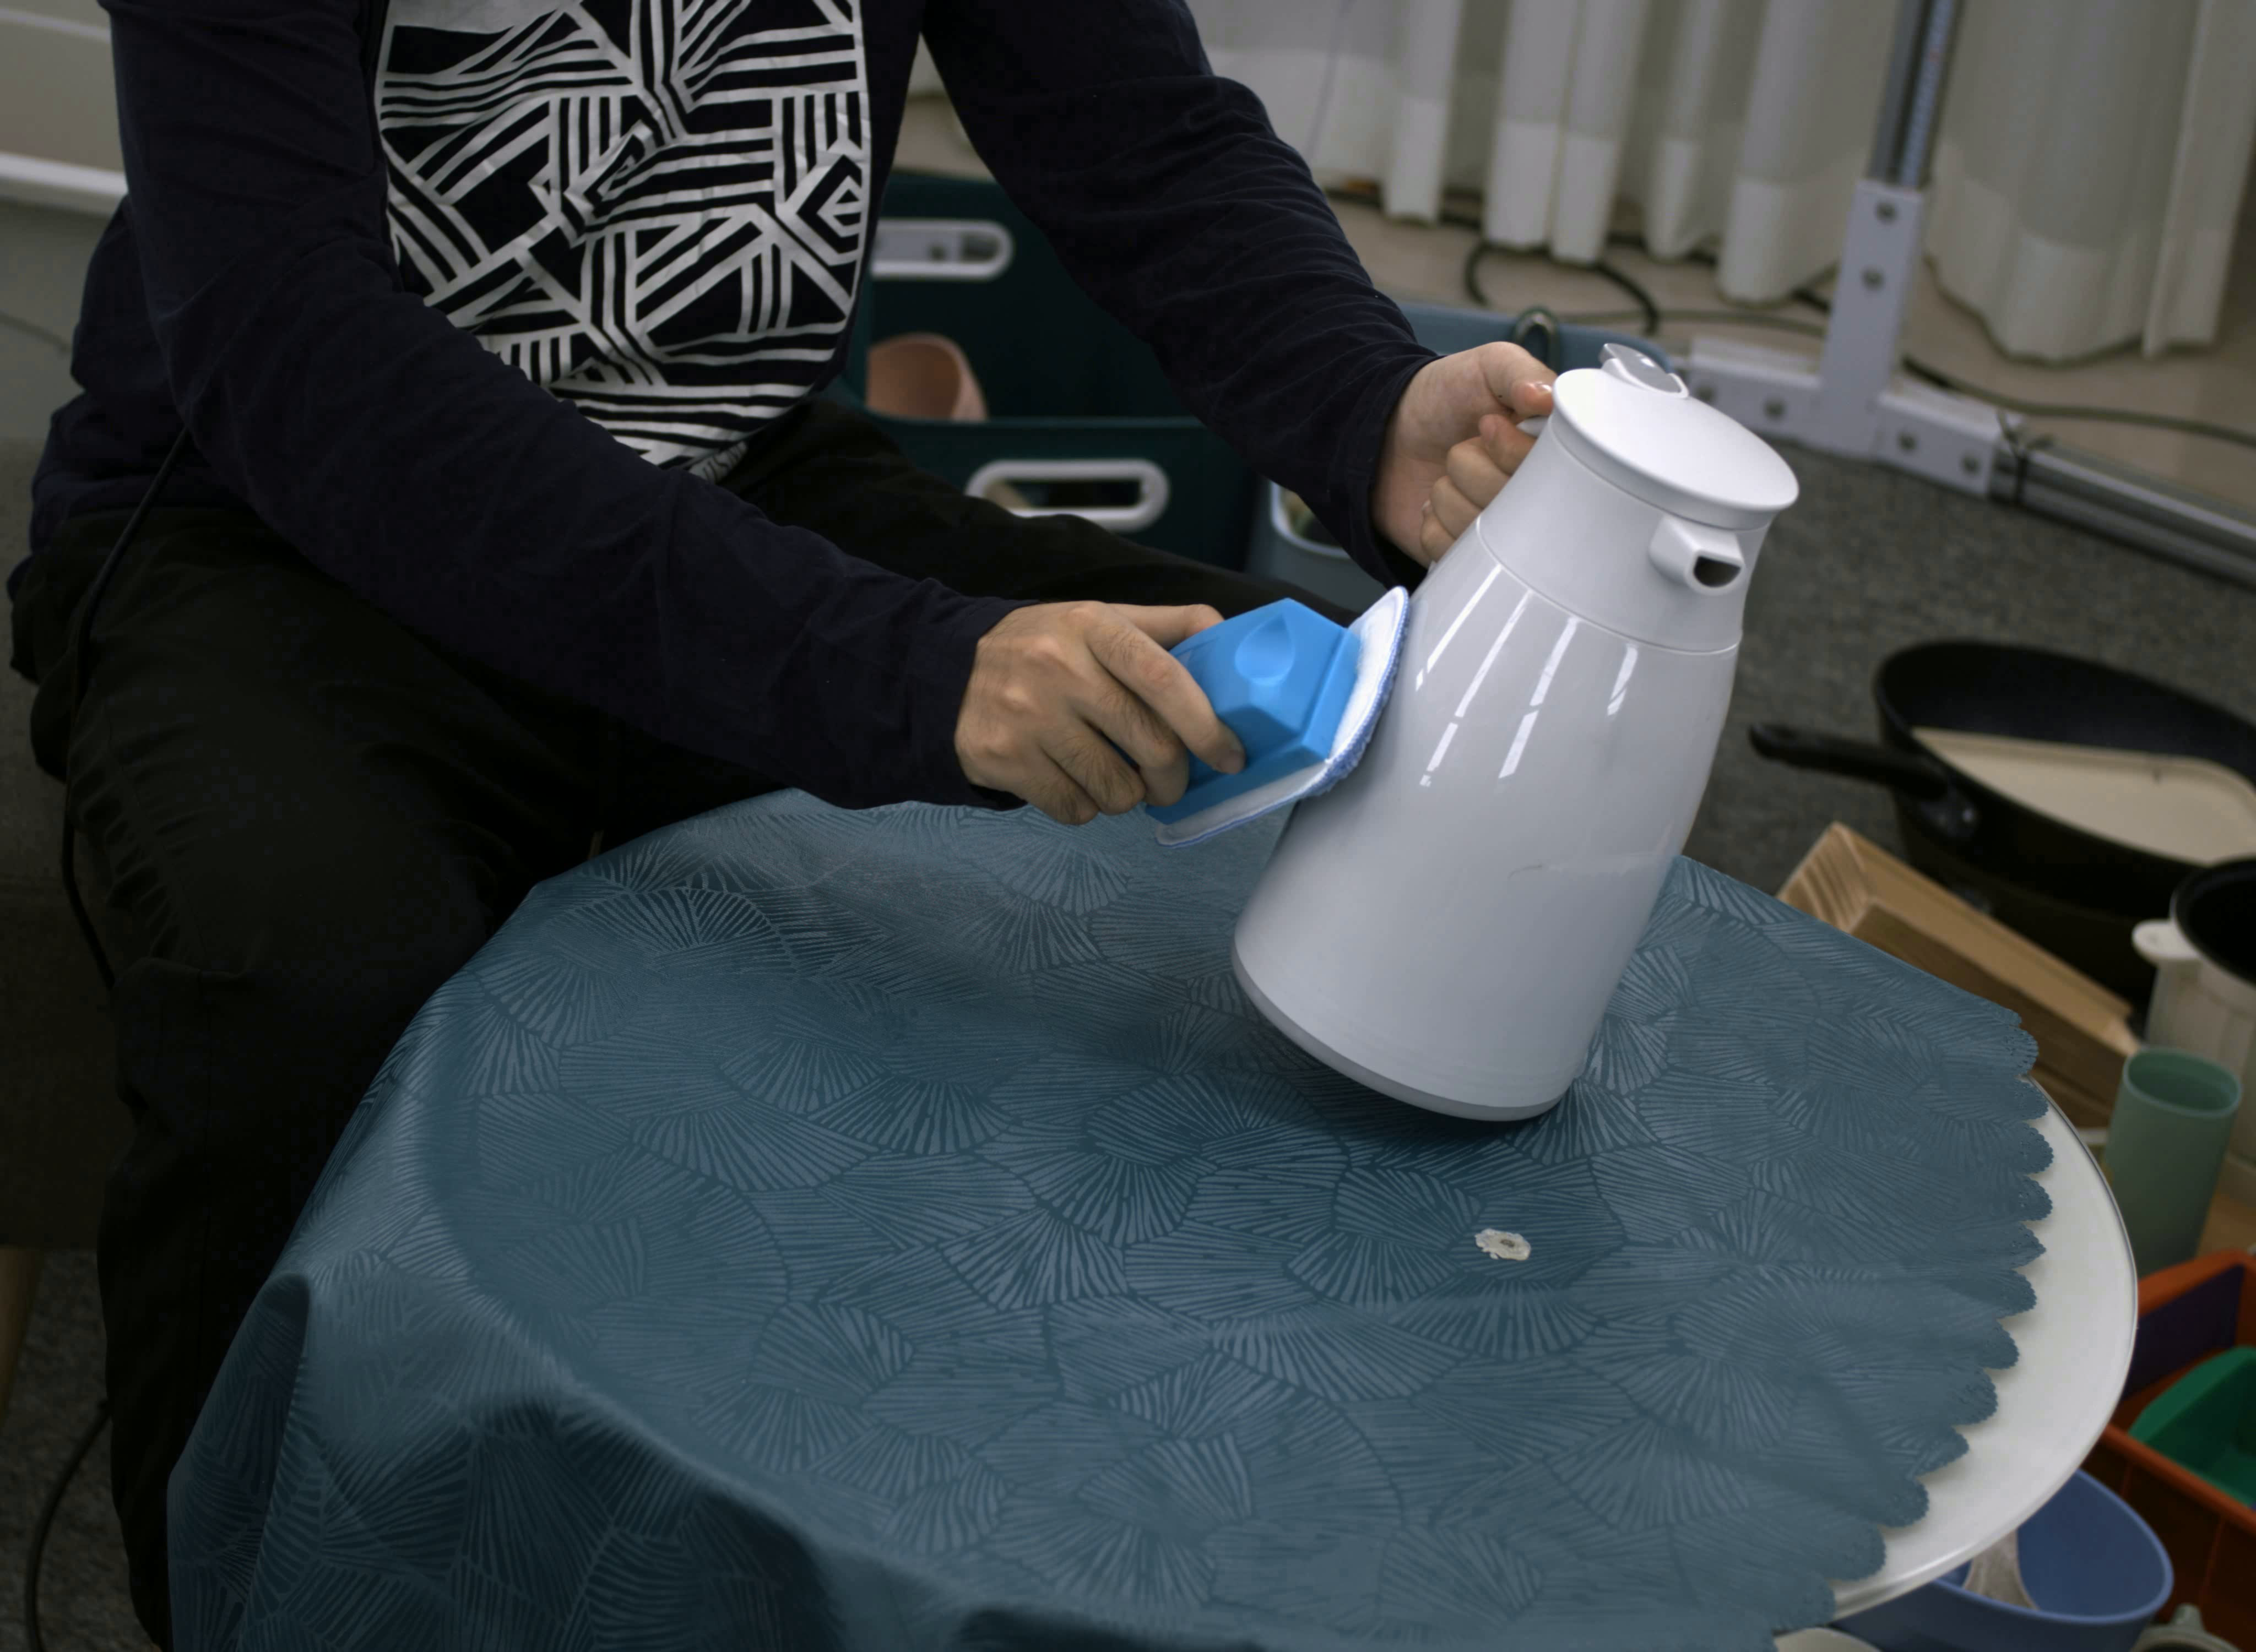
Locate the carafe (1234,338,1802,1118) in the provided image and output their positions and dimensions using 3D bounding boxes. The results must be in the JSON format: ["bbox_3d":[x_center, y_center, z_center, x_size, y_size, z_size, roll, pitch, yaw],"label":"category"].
[{"bbox_3d":[0.137,-0.046,1.865,0.131,0.248,0.169,12,26,-25],"label":"carafe"}]

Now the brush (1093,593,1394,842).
[{"bbox_3d":[0.033,-0.044,1.873,0.055,0.084,0.144,35,-23,-19],"label":"brush"}]
